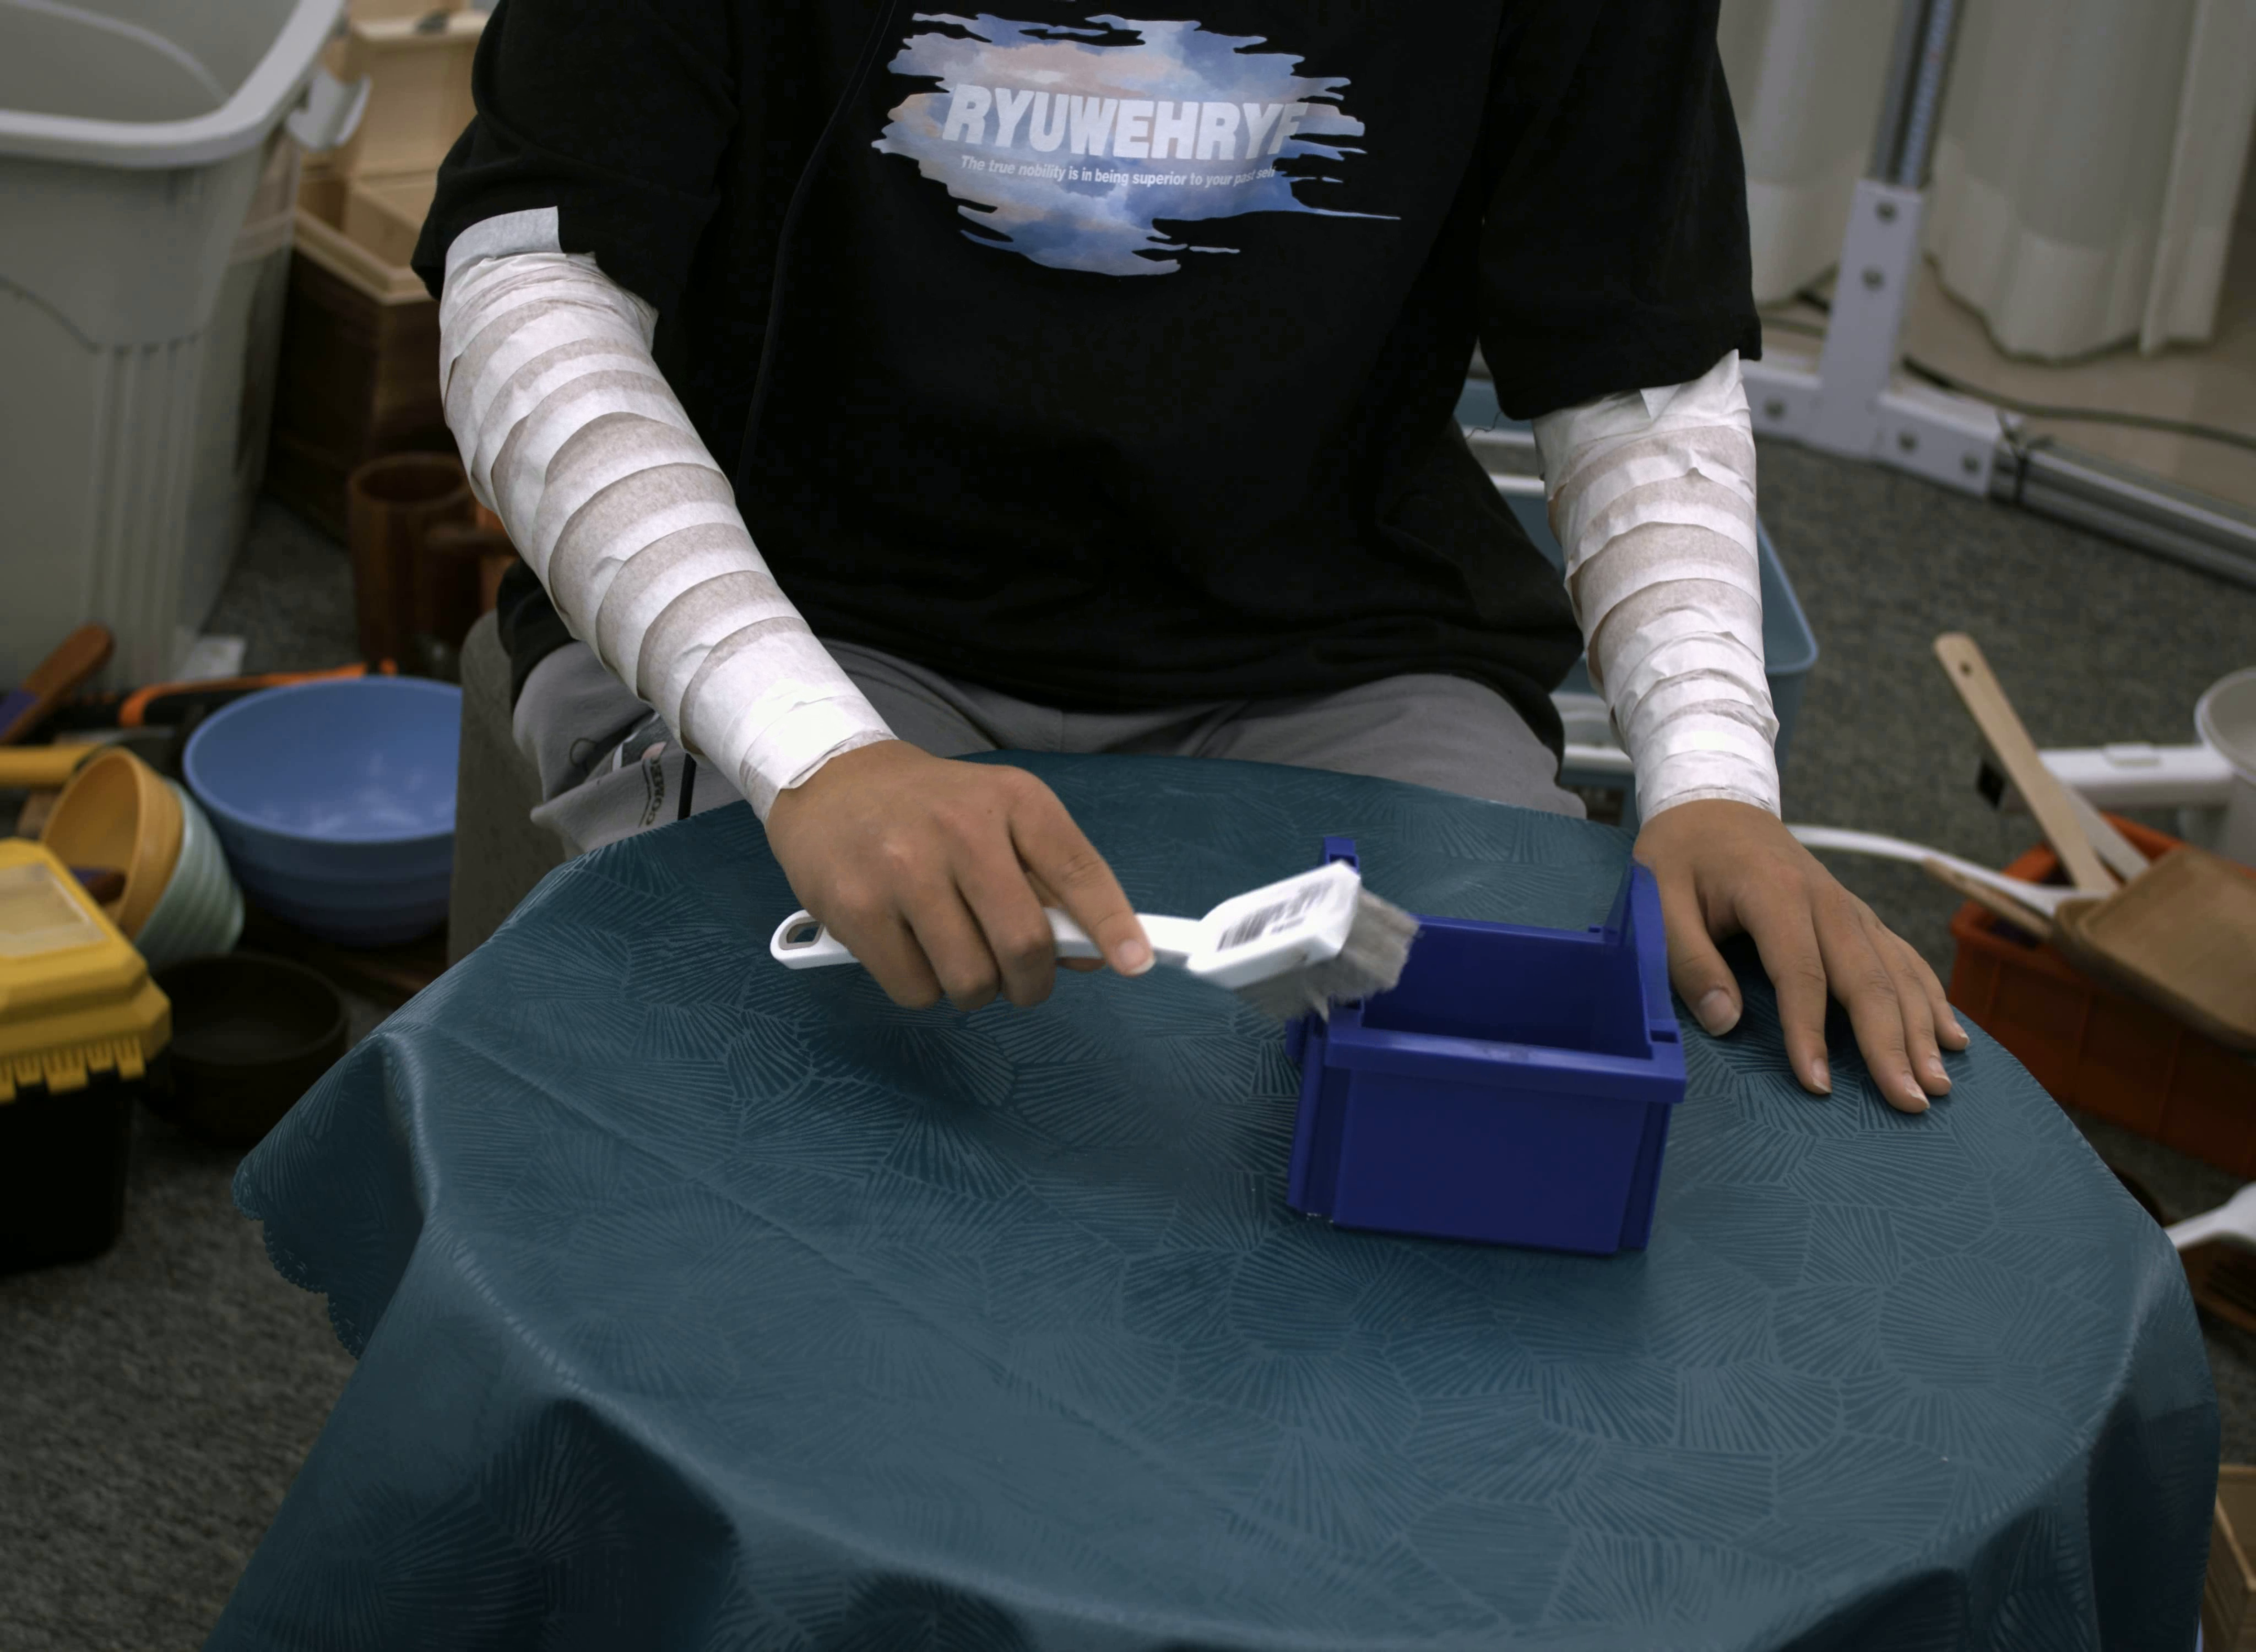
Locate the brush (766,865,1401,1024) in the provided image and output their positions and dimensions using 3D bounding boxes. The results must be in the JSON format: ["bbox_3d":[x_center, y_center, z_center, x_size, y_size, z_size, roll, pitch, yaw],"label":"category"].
[{"bbox_3d":[-0.017,0.046,1.815,0.244,0.050,0.034,-5,50,34],"label":"brush"}]

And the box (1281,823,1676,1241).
[{"bbox_3d":[0.120,0.067,1.855,0.124,0.081,0.180,6,28,0],"label":"box"}]
